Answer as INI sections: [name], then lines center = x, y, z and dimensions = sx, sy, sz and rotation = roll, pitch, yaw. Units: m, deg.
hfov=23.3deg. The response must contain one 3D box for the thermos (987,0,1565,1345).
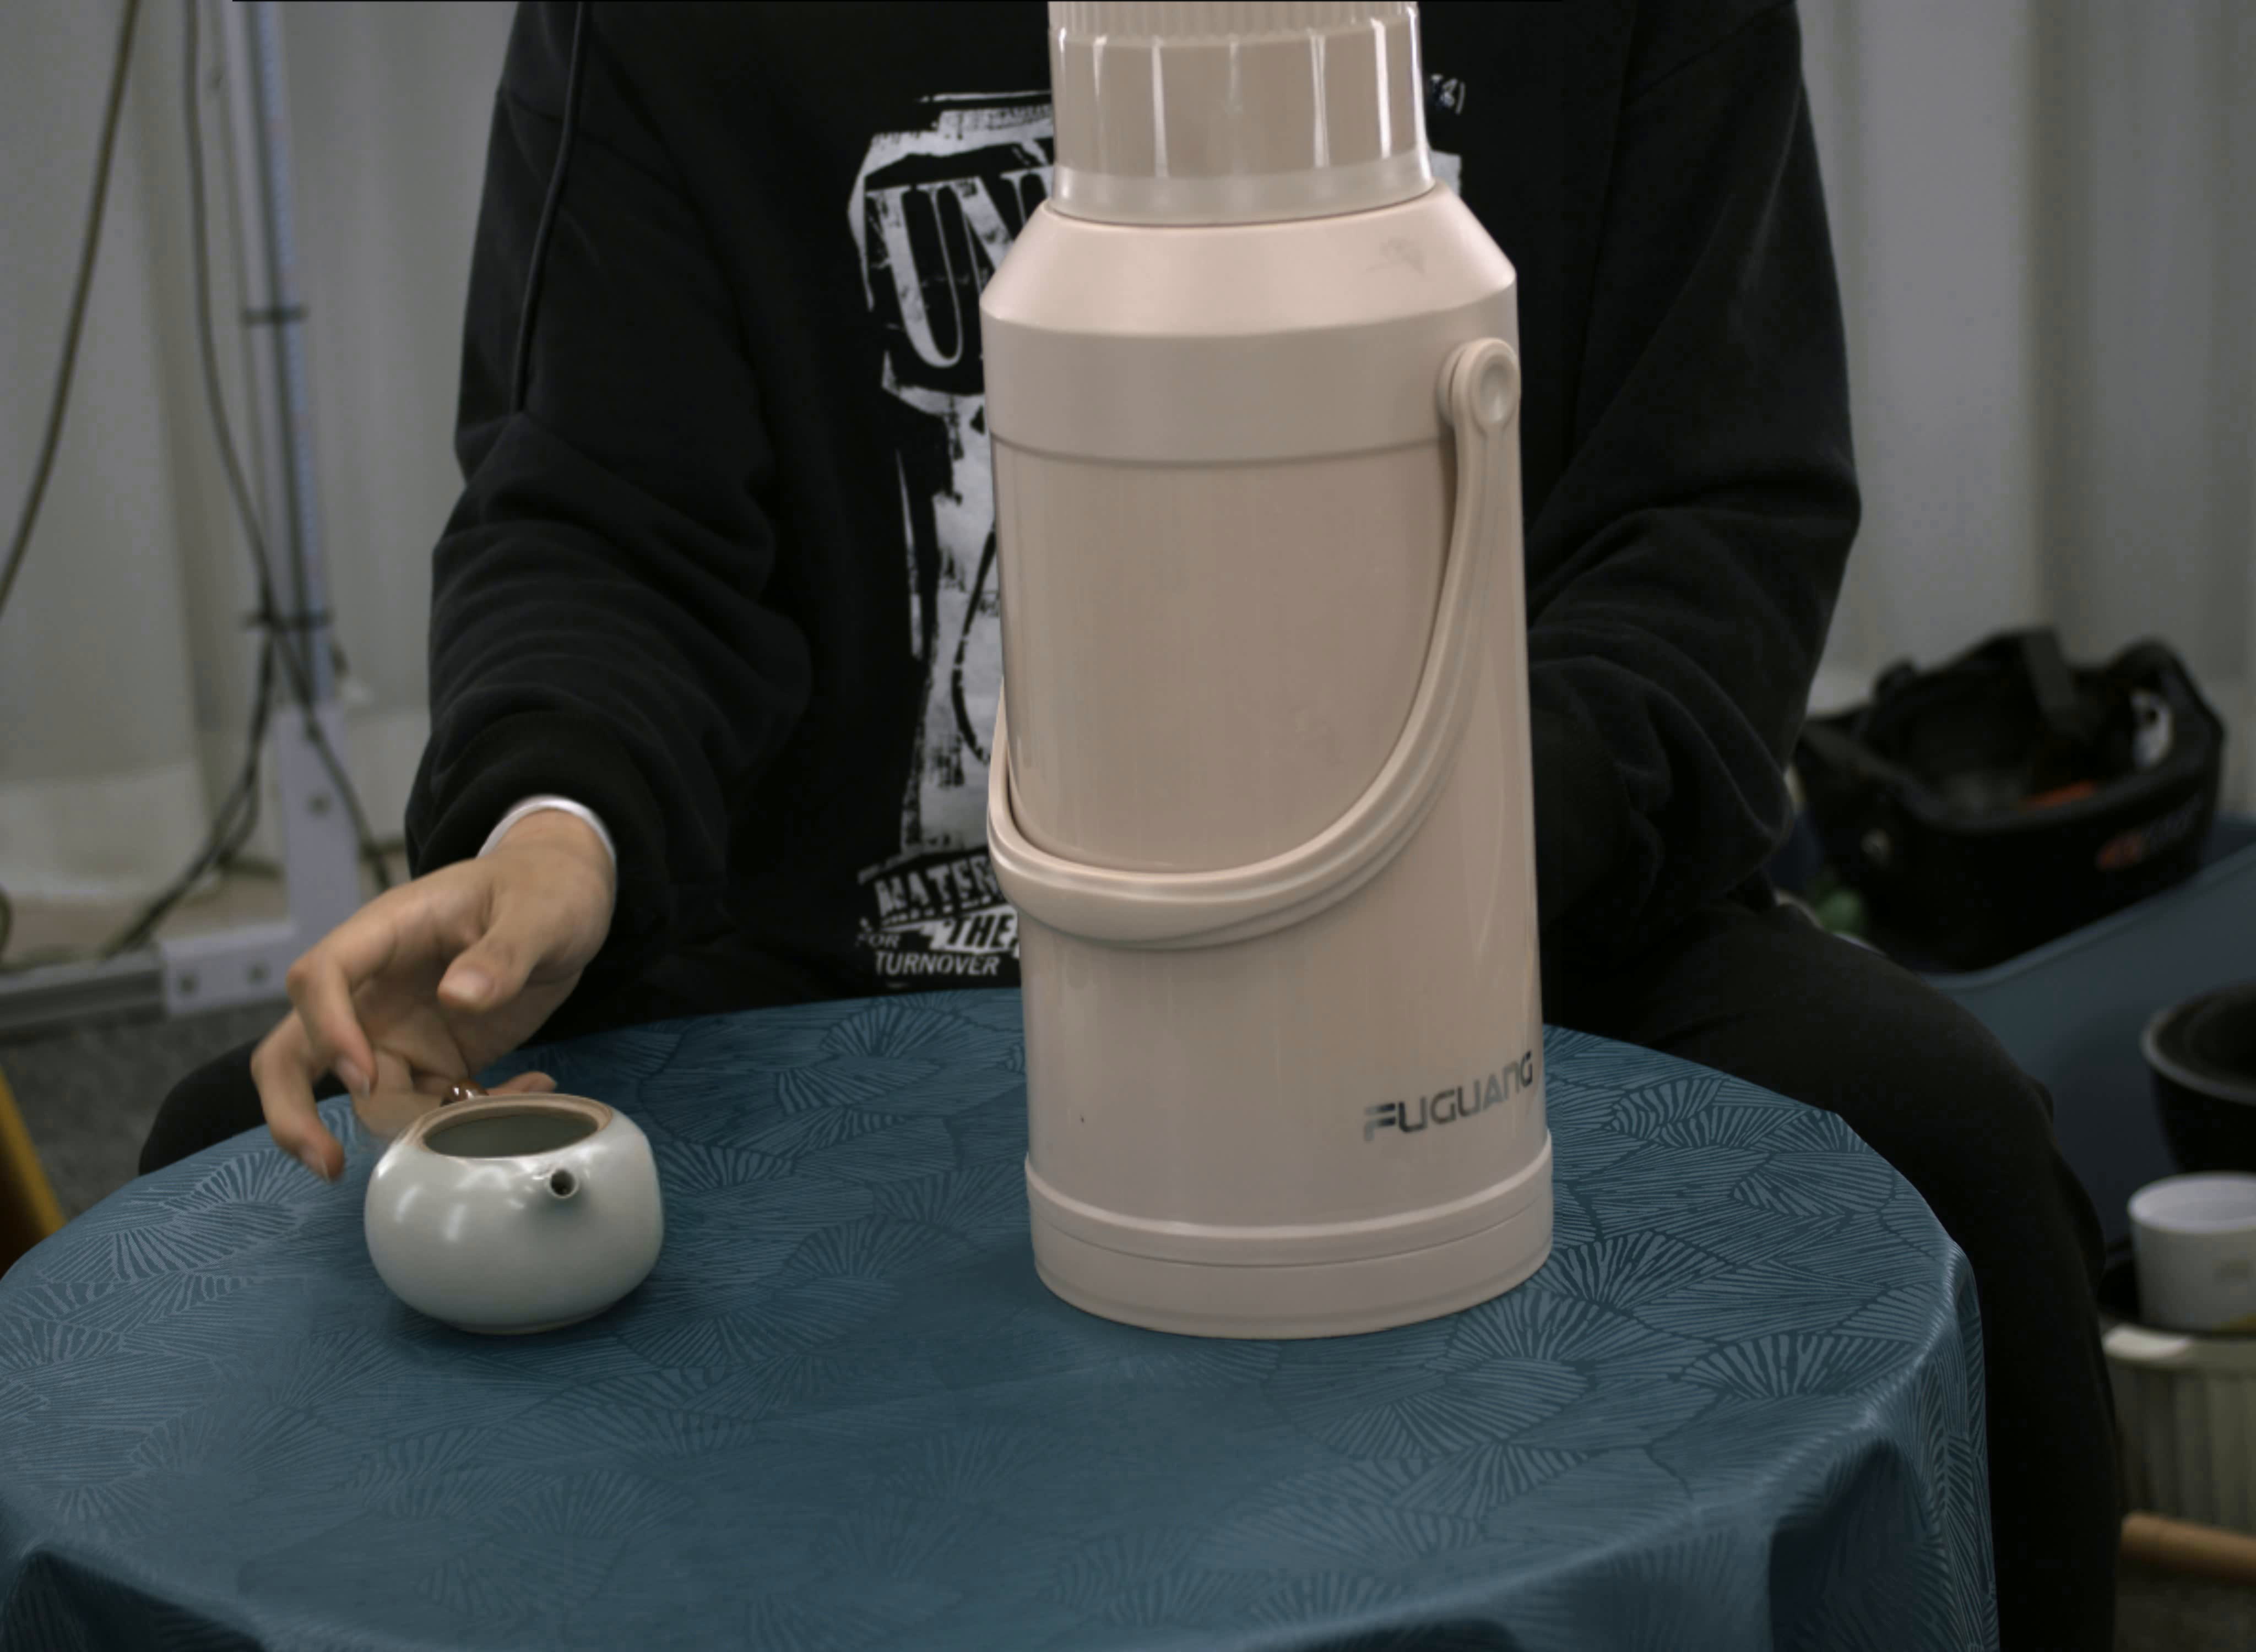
[thermos]
center = 0.052, -0.065, 1.617
dimensions = 0.176, 0.405, 0.207
rotation = 6, 17, 38

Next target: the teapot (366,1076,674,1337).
[teapot]
center = -0.185, 0.113, 1.642
dimensions = 0.091, 0.059, 0.129
rotation = -12, 19, -22
